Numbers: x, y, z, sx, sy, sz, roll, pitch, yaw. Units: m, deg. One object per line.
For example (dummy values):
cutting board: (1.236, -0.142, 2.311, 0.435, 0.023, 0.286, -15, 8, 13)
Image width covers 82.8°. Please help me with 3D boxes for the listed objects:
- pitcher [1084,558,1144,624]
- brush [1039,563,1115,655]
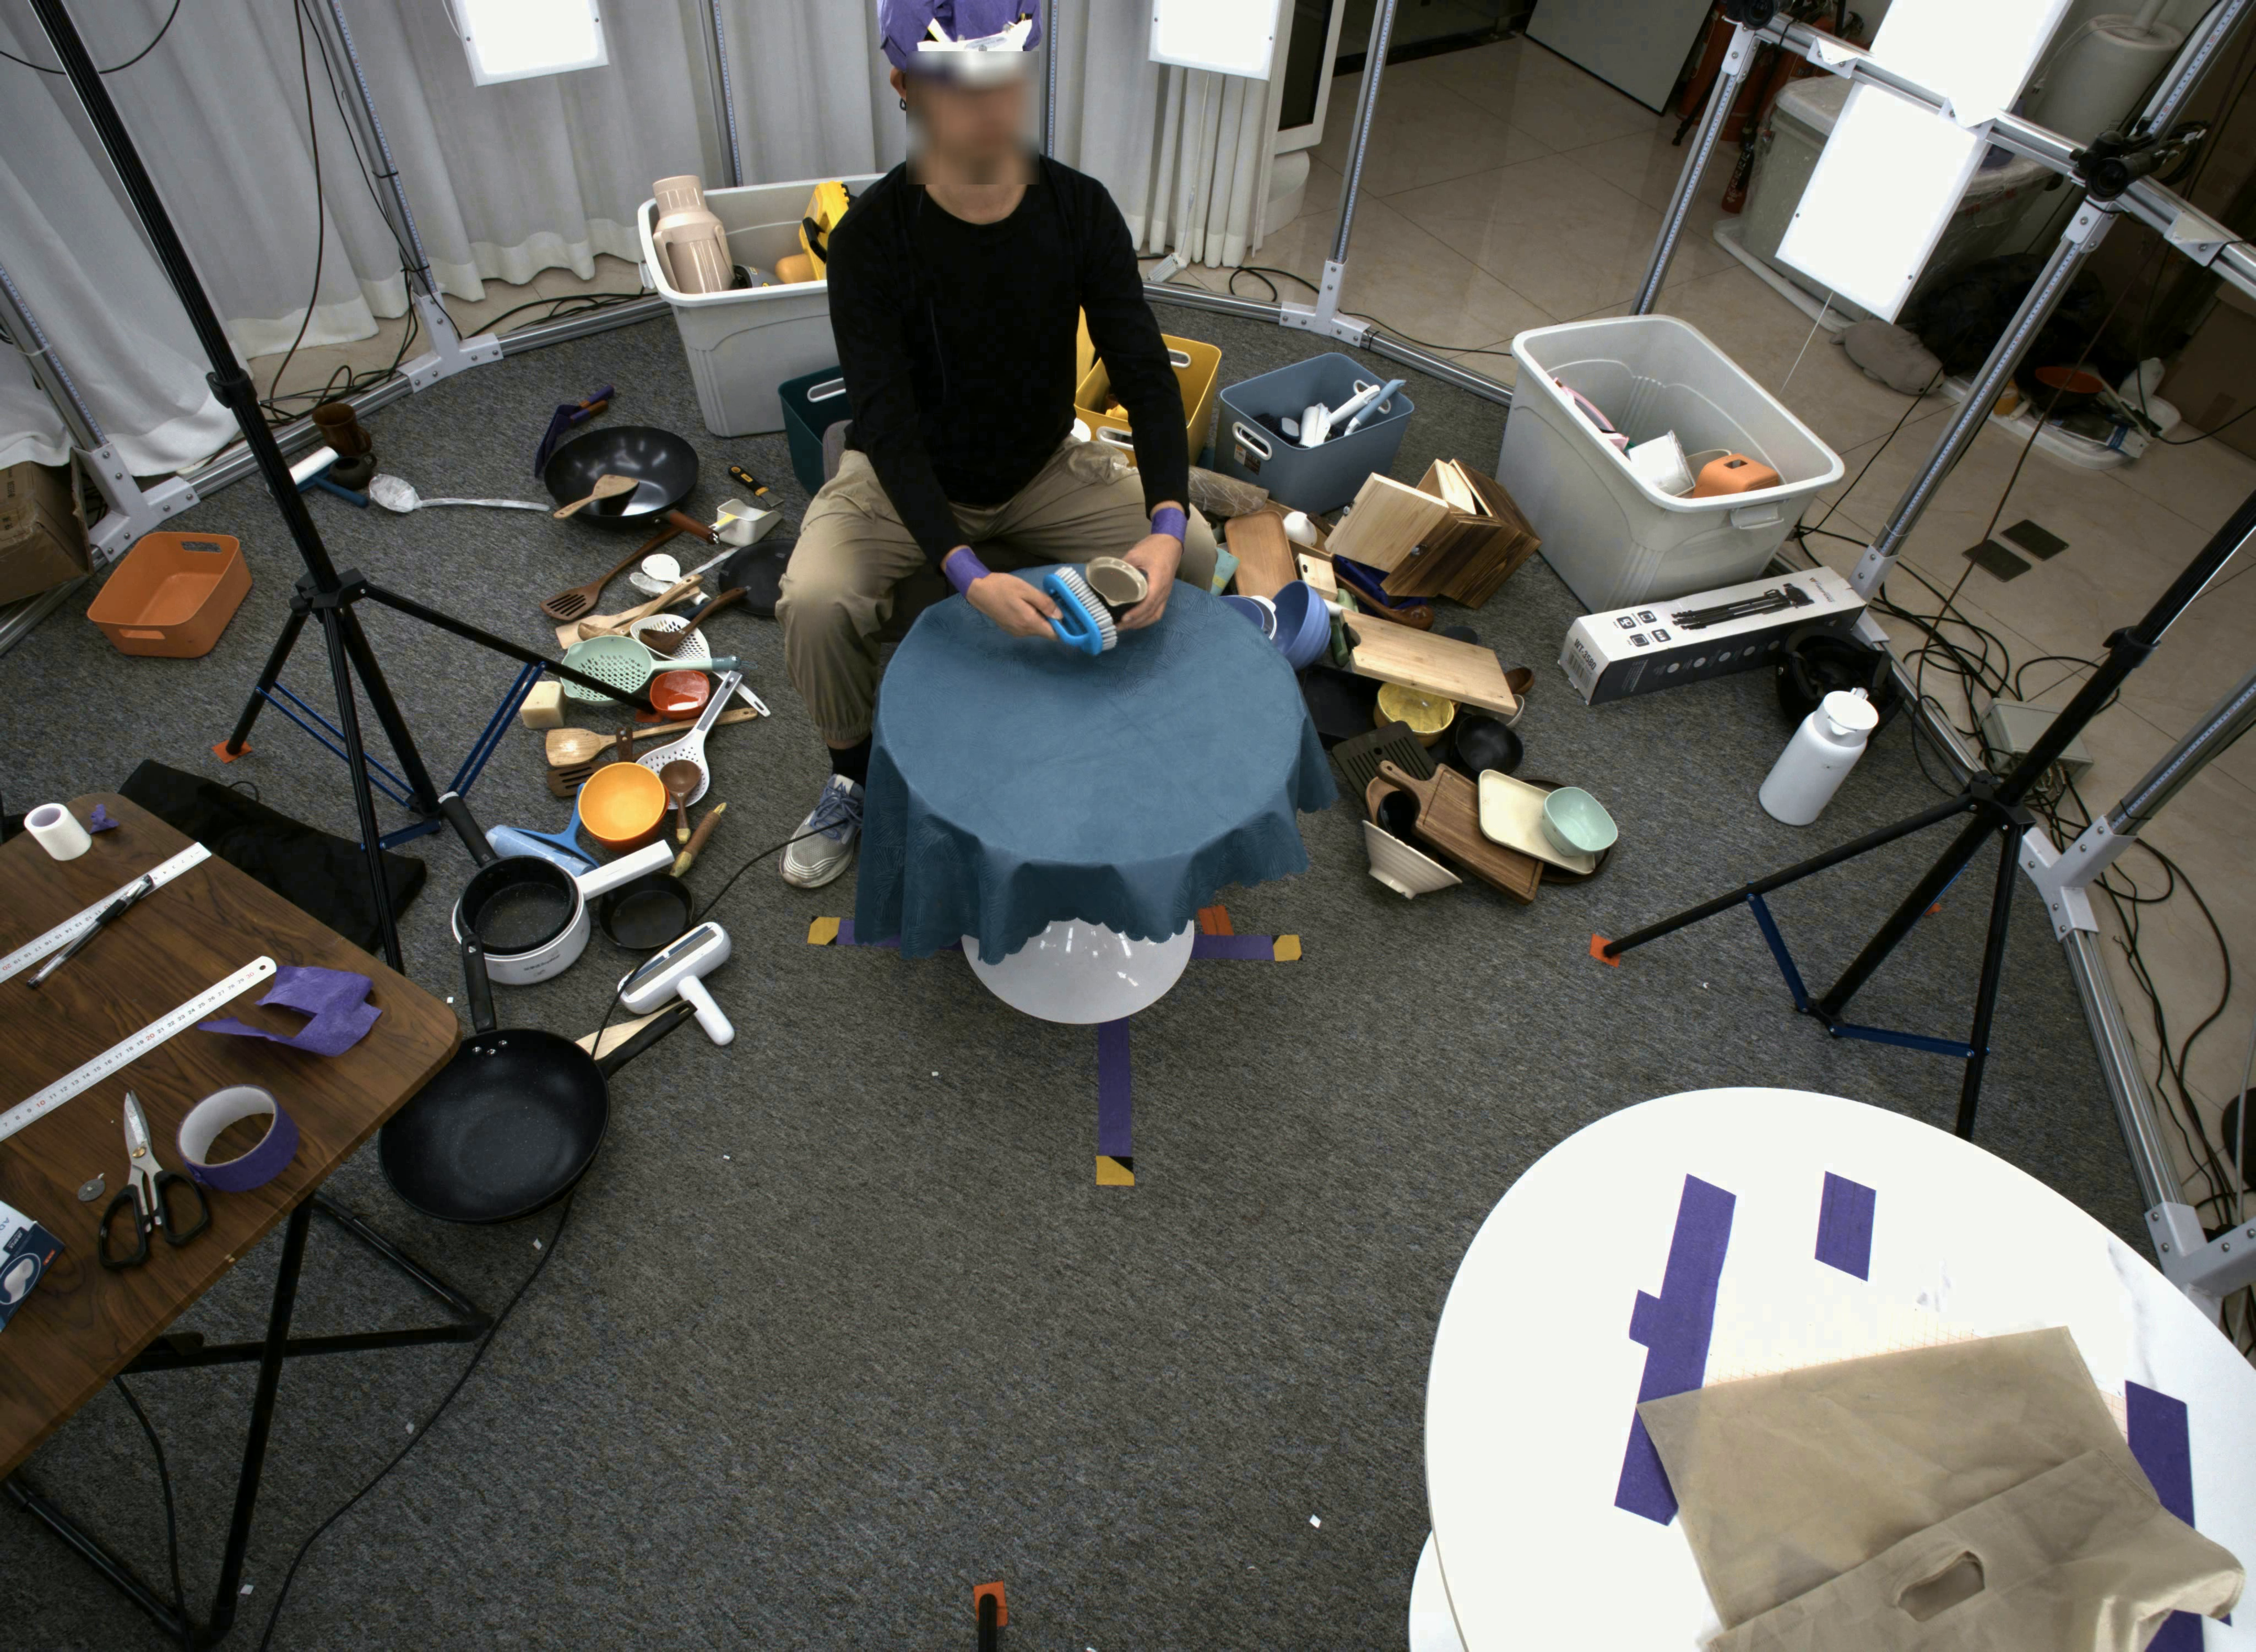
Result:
pitcher: (-0.027, -0.330, 1.843, 0.083, 0.070, 0.098, 24, 48, -5)
brush: (-0.082, -0.297, 1.814, 0.064, 0.083, 0.143, -30, 74, -19)
